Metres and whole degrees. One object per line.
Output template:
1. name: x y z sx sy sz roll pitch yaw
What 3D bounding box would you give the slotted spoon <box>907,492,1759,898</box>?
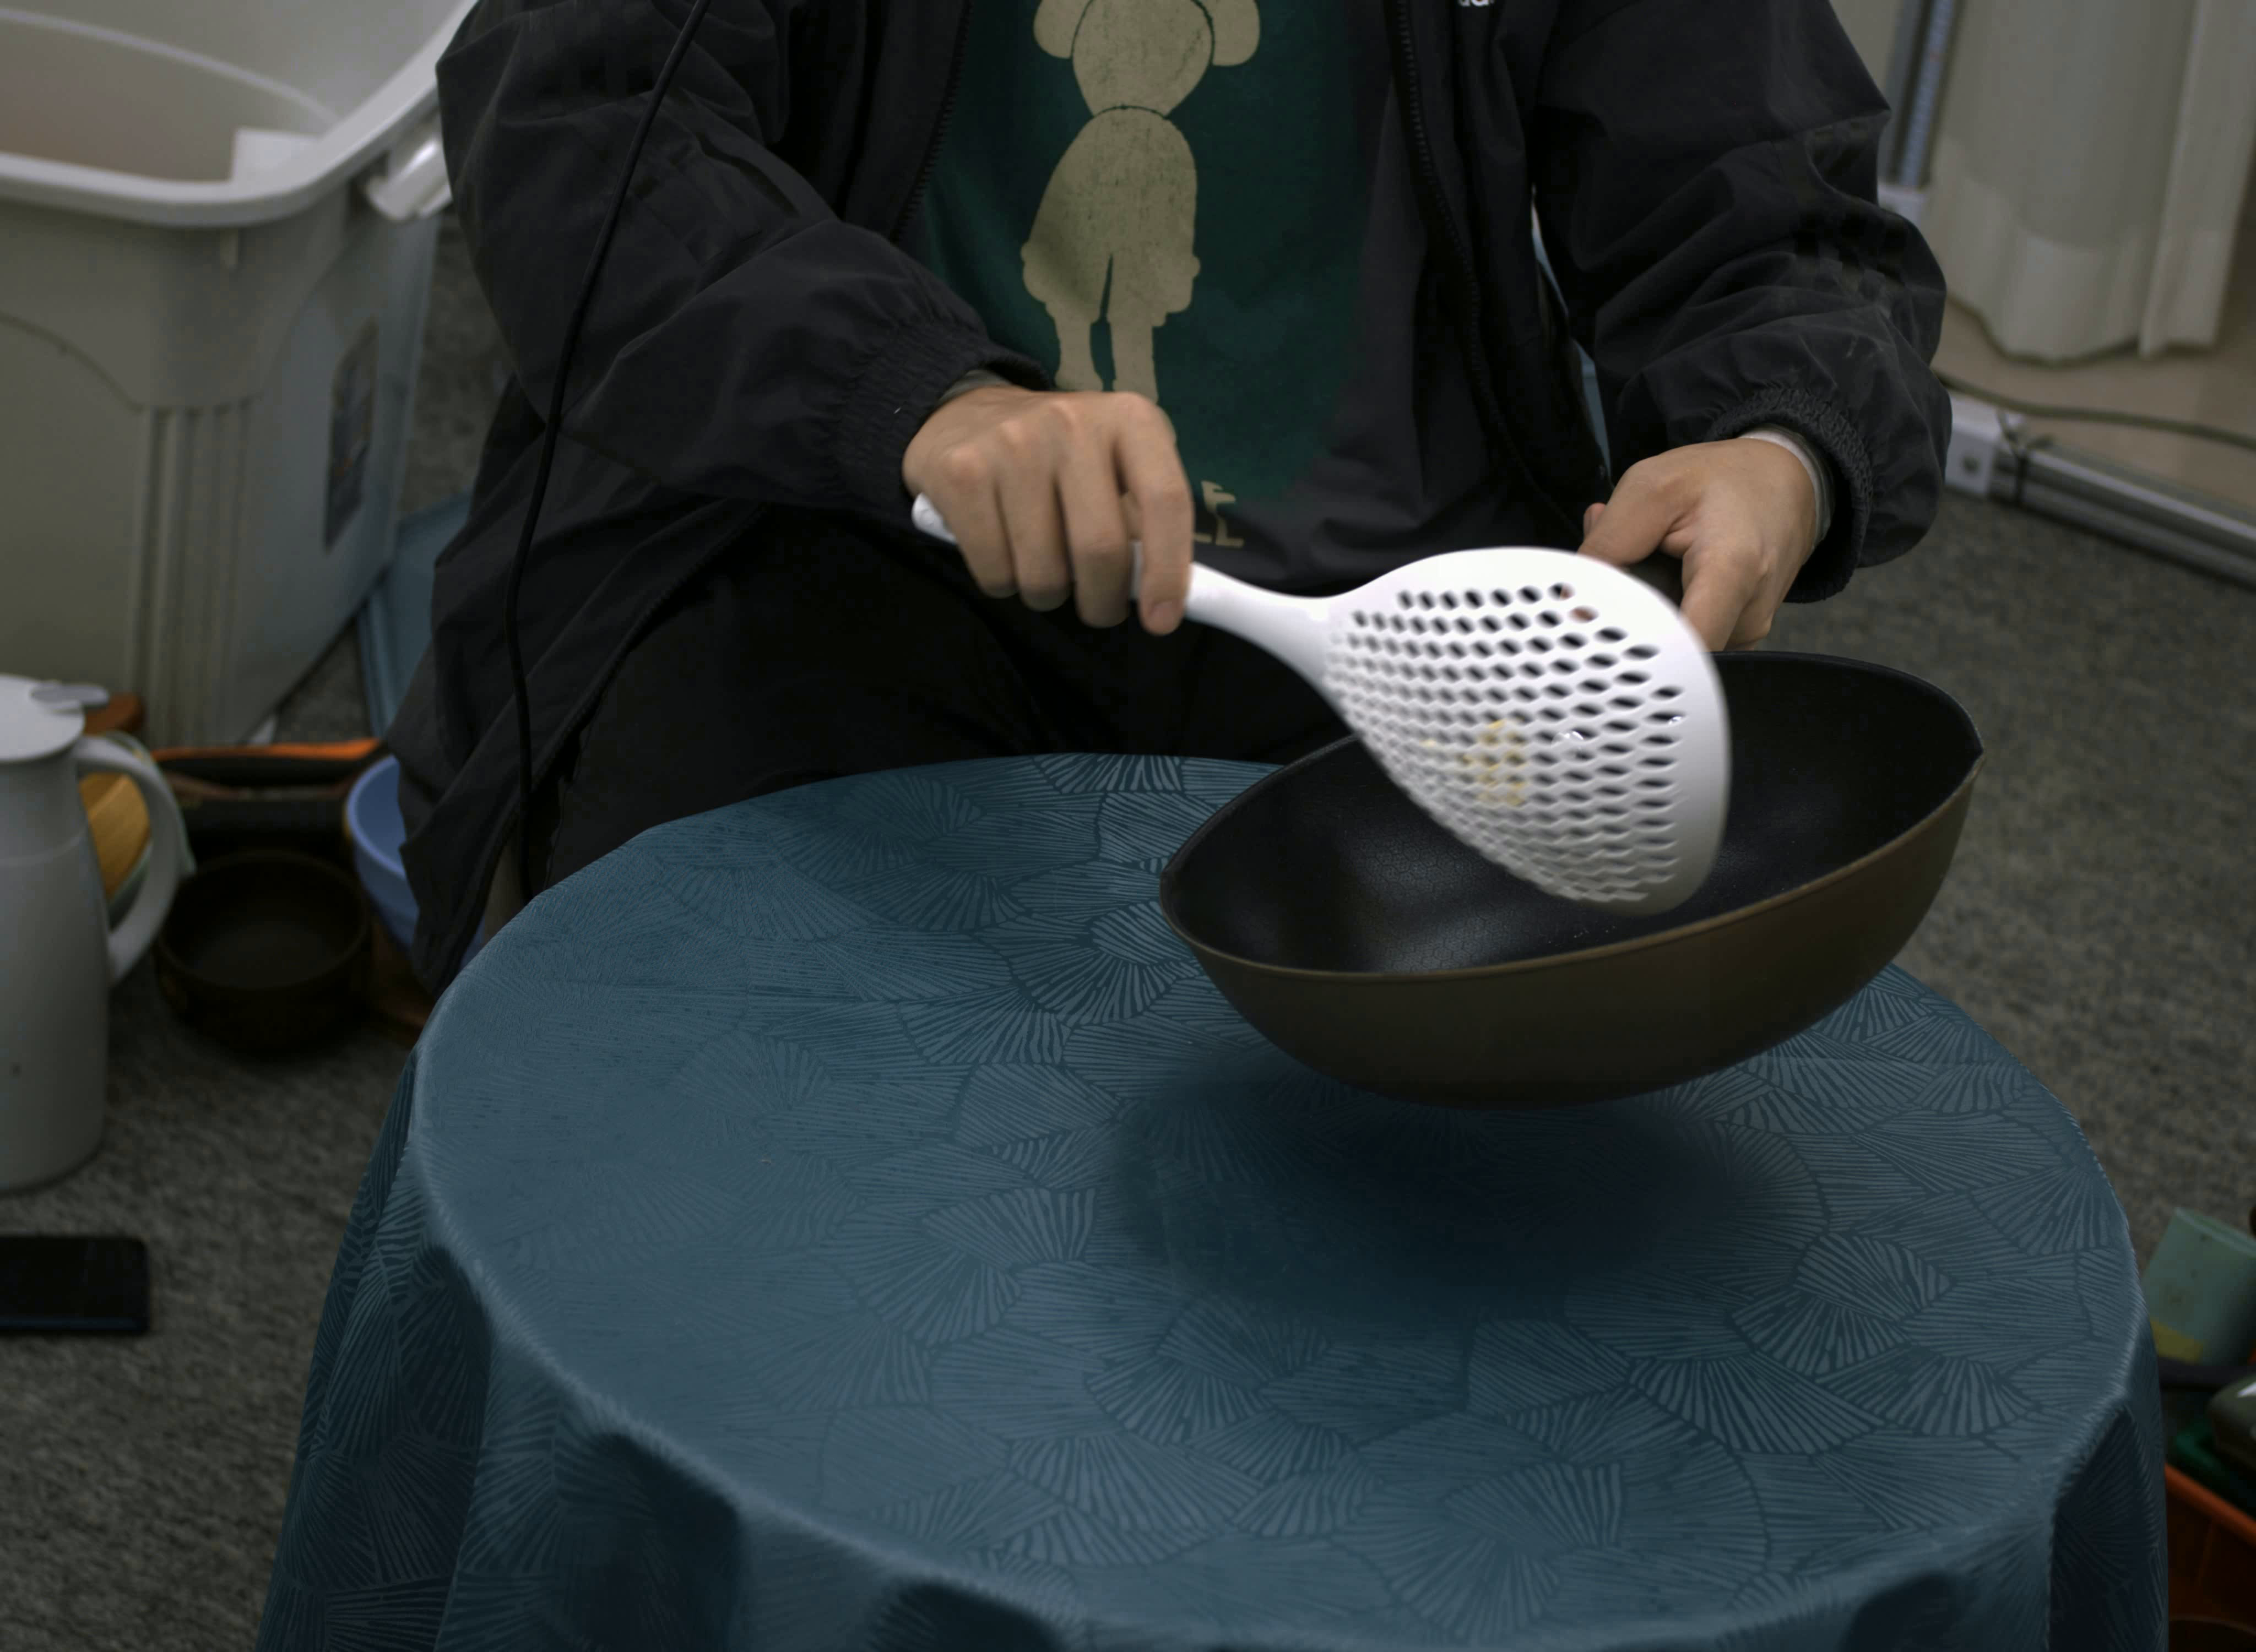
1. slotted spoon: 0.067 -0.065 1.892 0.350 0.136 0.050 22 37 35

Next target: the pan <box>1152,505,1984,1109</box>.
1. pan: 0.174 -0.006 1.899 0.288 0.086 0.464 -8 19 16
